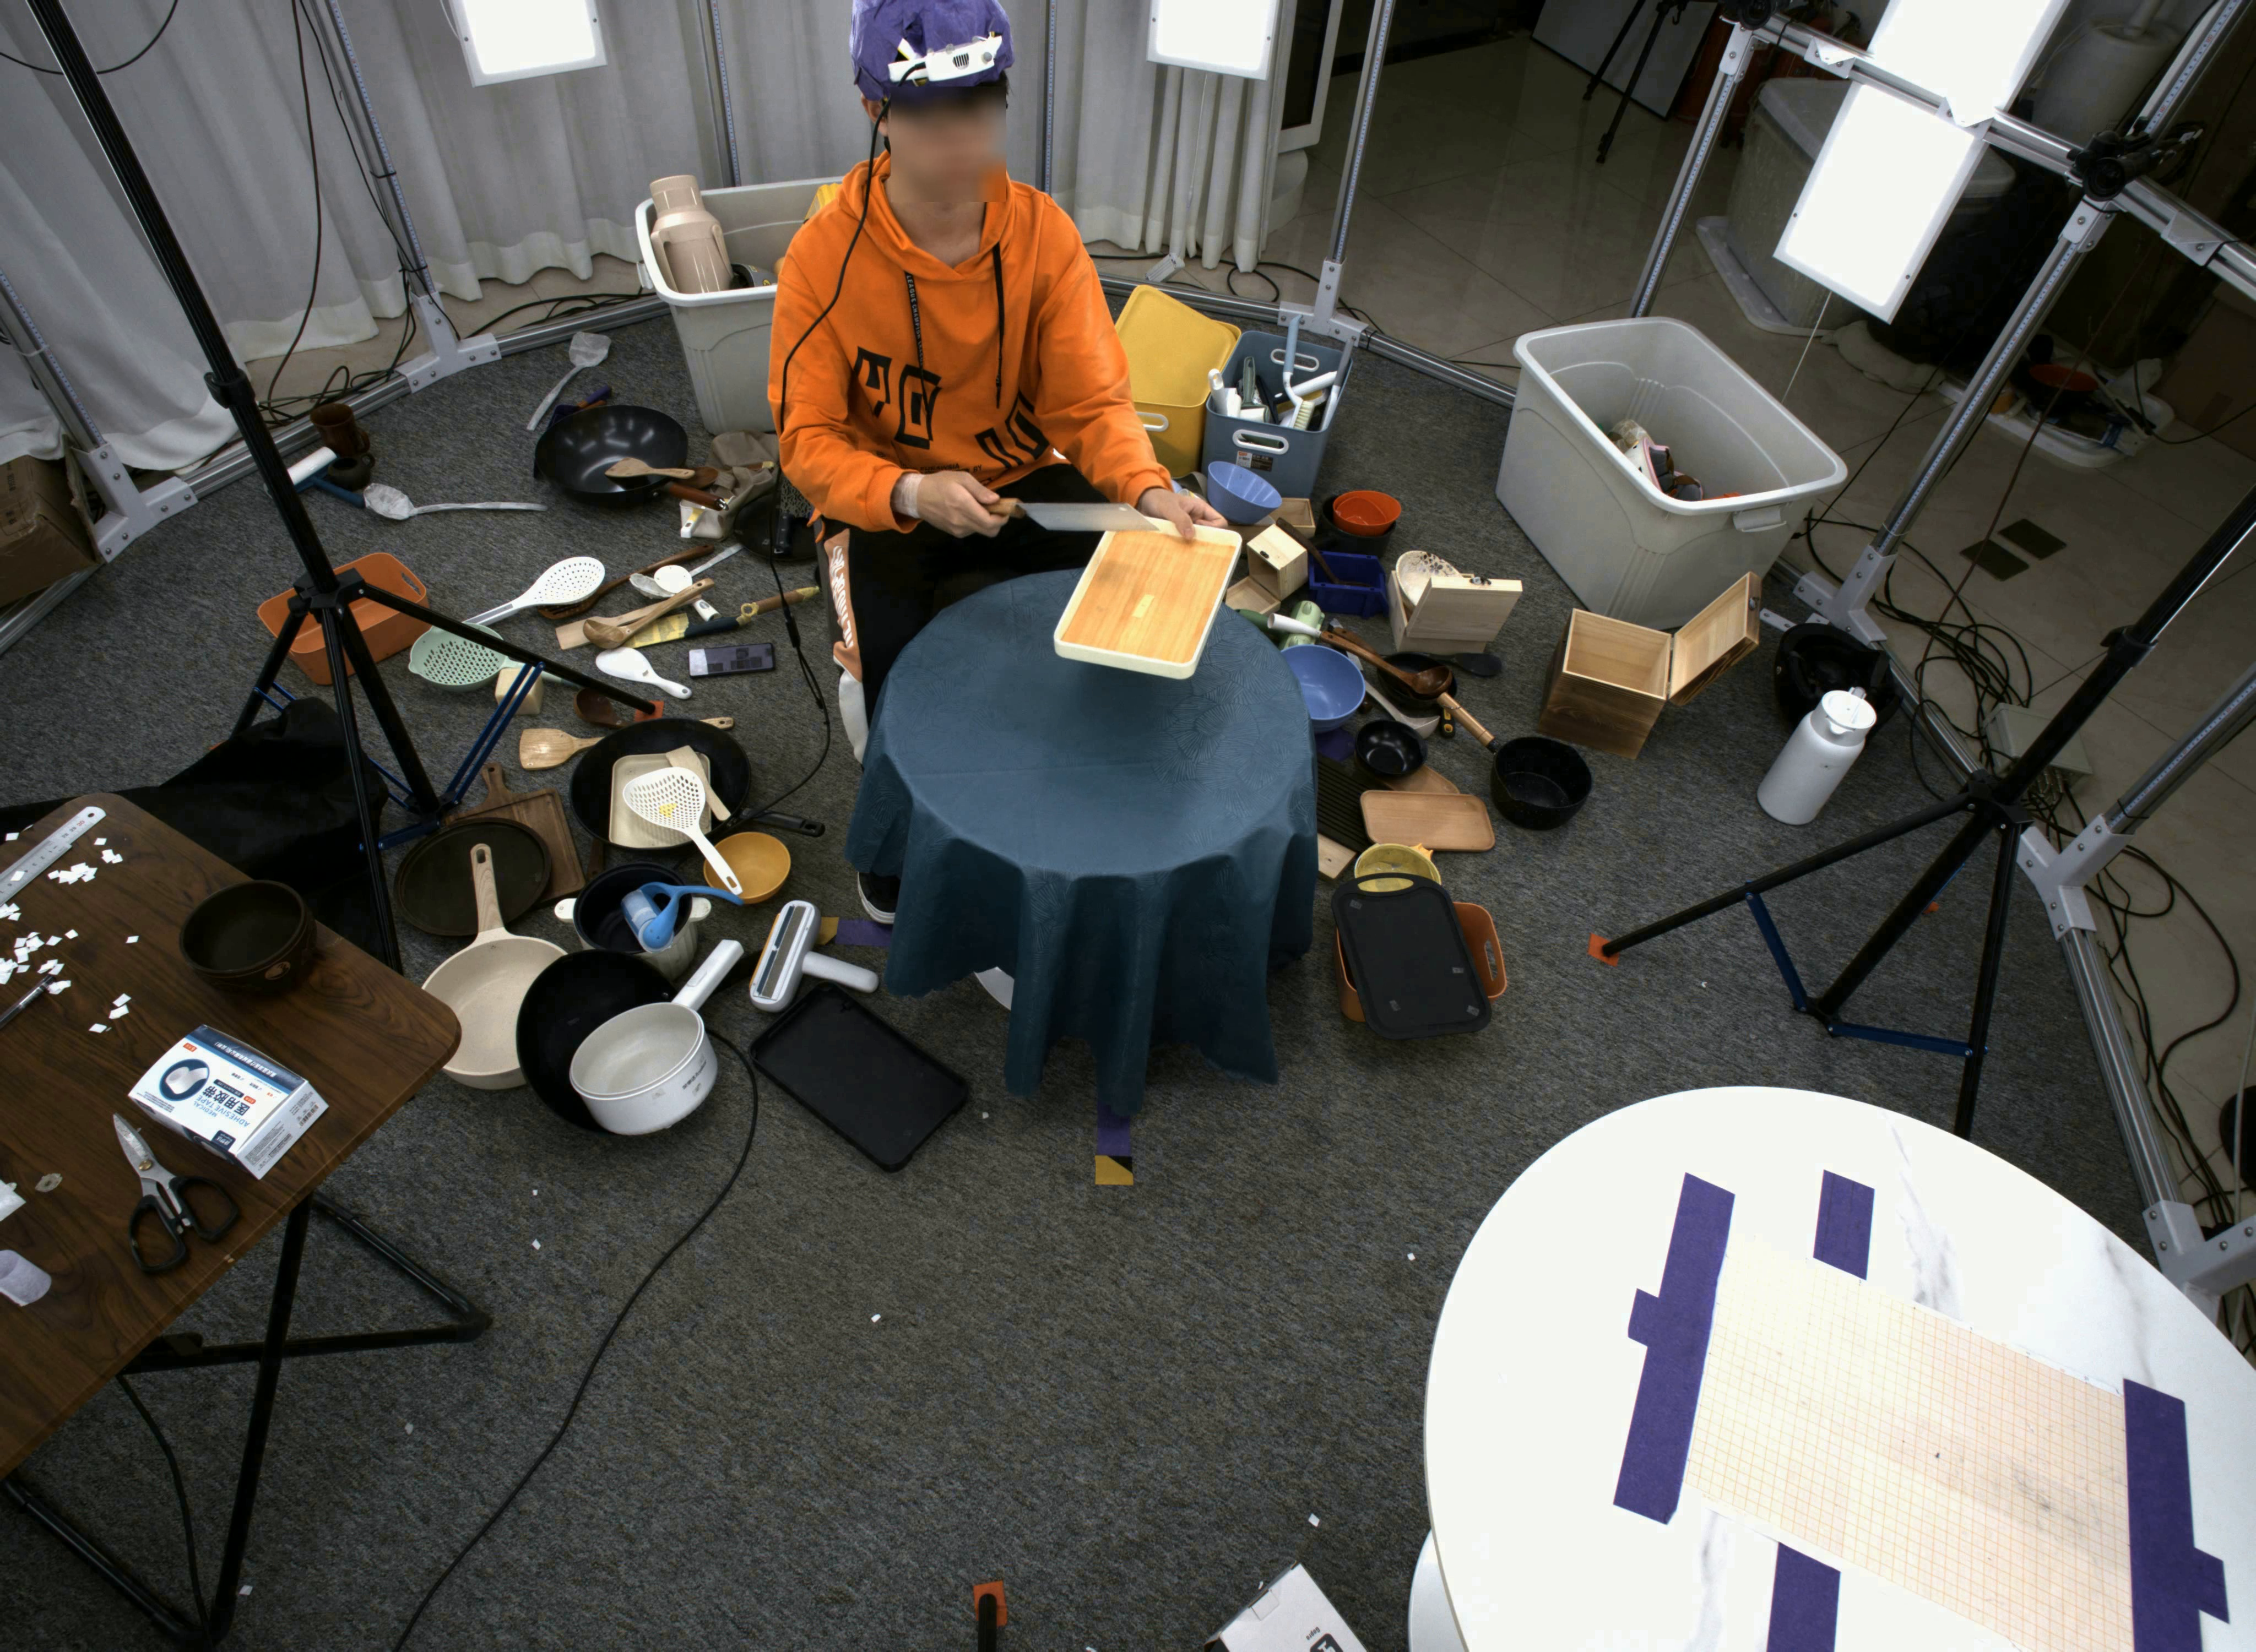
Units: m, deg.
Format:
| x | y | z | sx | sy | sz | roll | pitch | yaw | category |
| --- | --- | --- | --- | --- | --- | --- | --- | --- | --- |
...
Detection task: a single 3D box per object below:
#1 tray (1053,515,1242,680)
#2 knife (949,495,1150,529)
| x | y | z | sx | sy | sz | roll | pitch | yaw | category |
| --- | --- | --- | --- | --- | --- | --- | --- | --- | --- |
| 0.032 | -0.315 | 1.735 | 0.192 | 0.027 | 0.307 | 11 | 48 | 12 | tray |
| -0.107 | -0.425 | 1.758 | 0.308 | 0.092 | 0.021 | 9 | 84 | 34 | knife |
